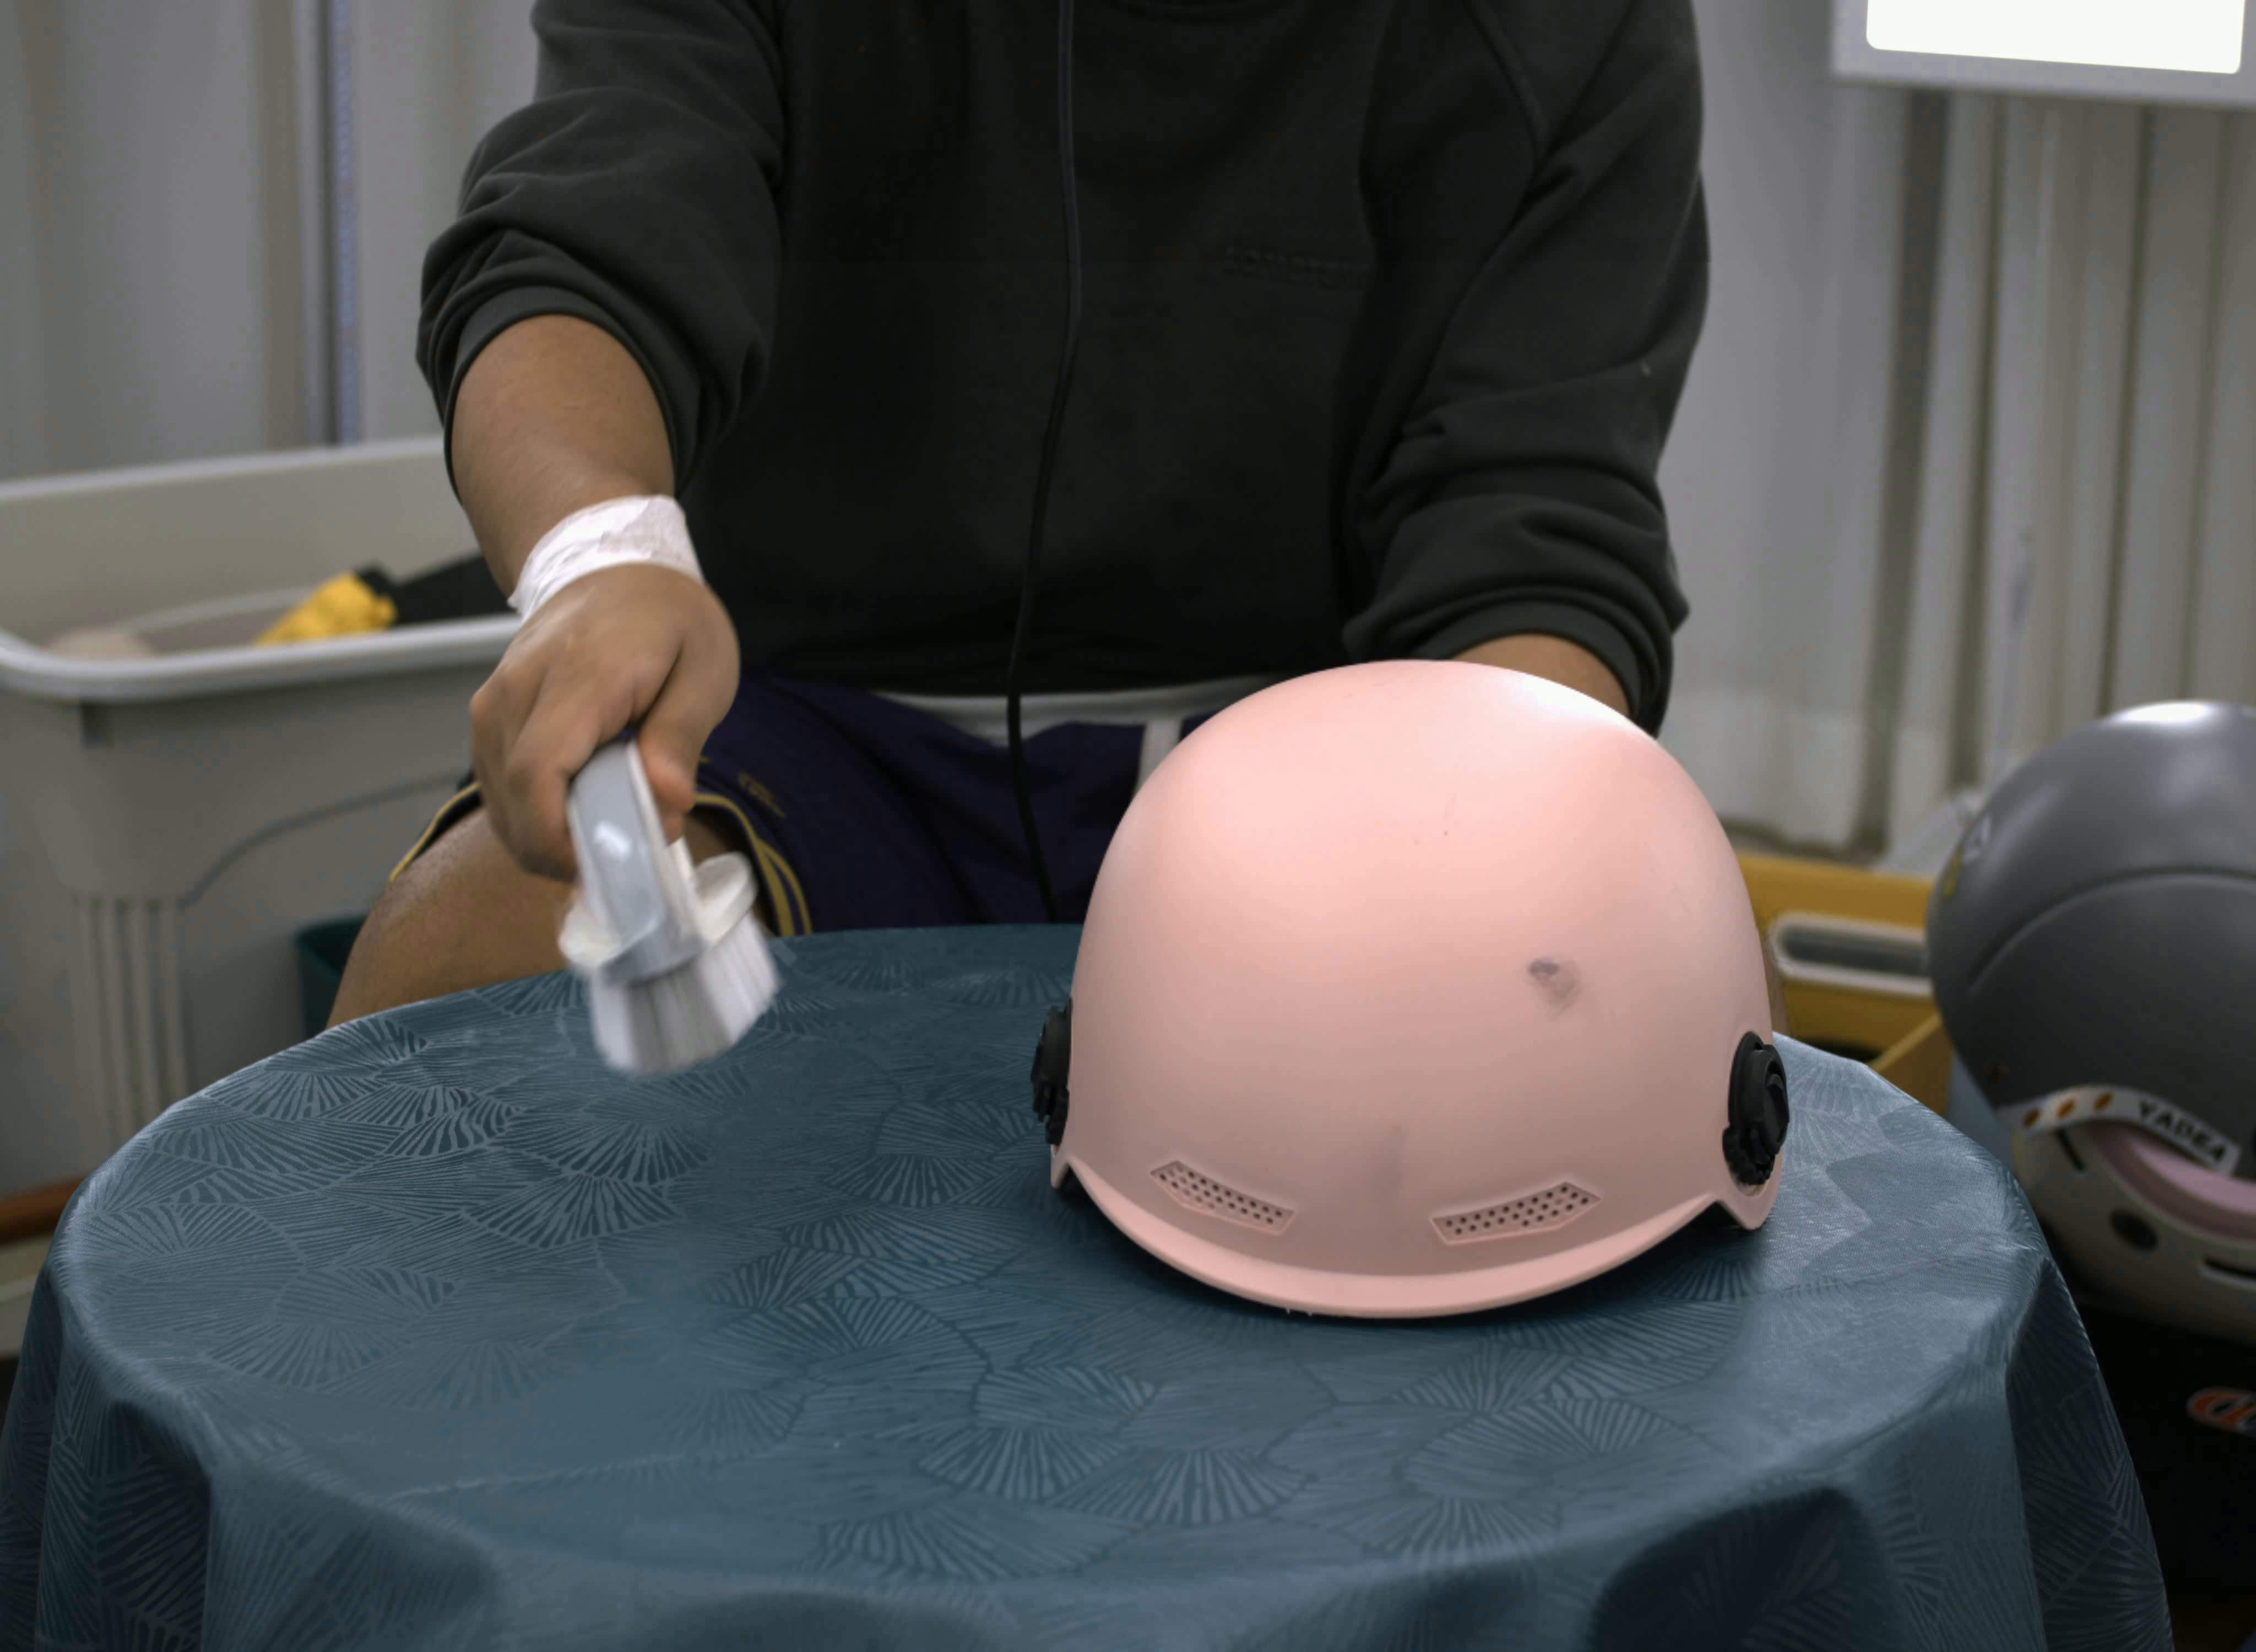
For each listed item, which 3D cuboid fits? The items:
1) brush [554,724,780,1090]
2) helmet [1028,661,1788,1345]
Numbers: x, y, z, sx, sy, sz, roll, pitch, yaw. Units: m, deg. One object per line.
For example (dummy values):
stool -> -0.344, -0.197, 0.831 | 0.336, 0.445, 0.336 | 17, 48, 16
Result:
brush -> -0.145, 0.020, 1.578 | 0.061, 0.095, 0.174 | -18, 12, 1
helmet -> 0.087, 0.038, 1.608 | 0.232, 0.160, 0.265 | 3, 22, 8
